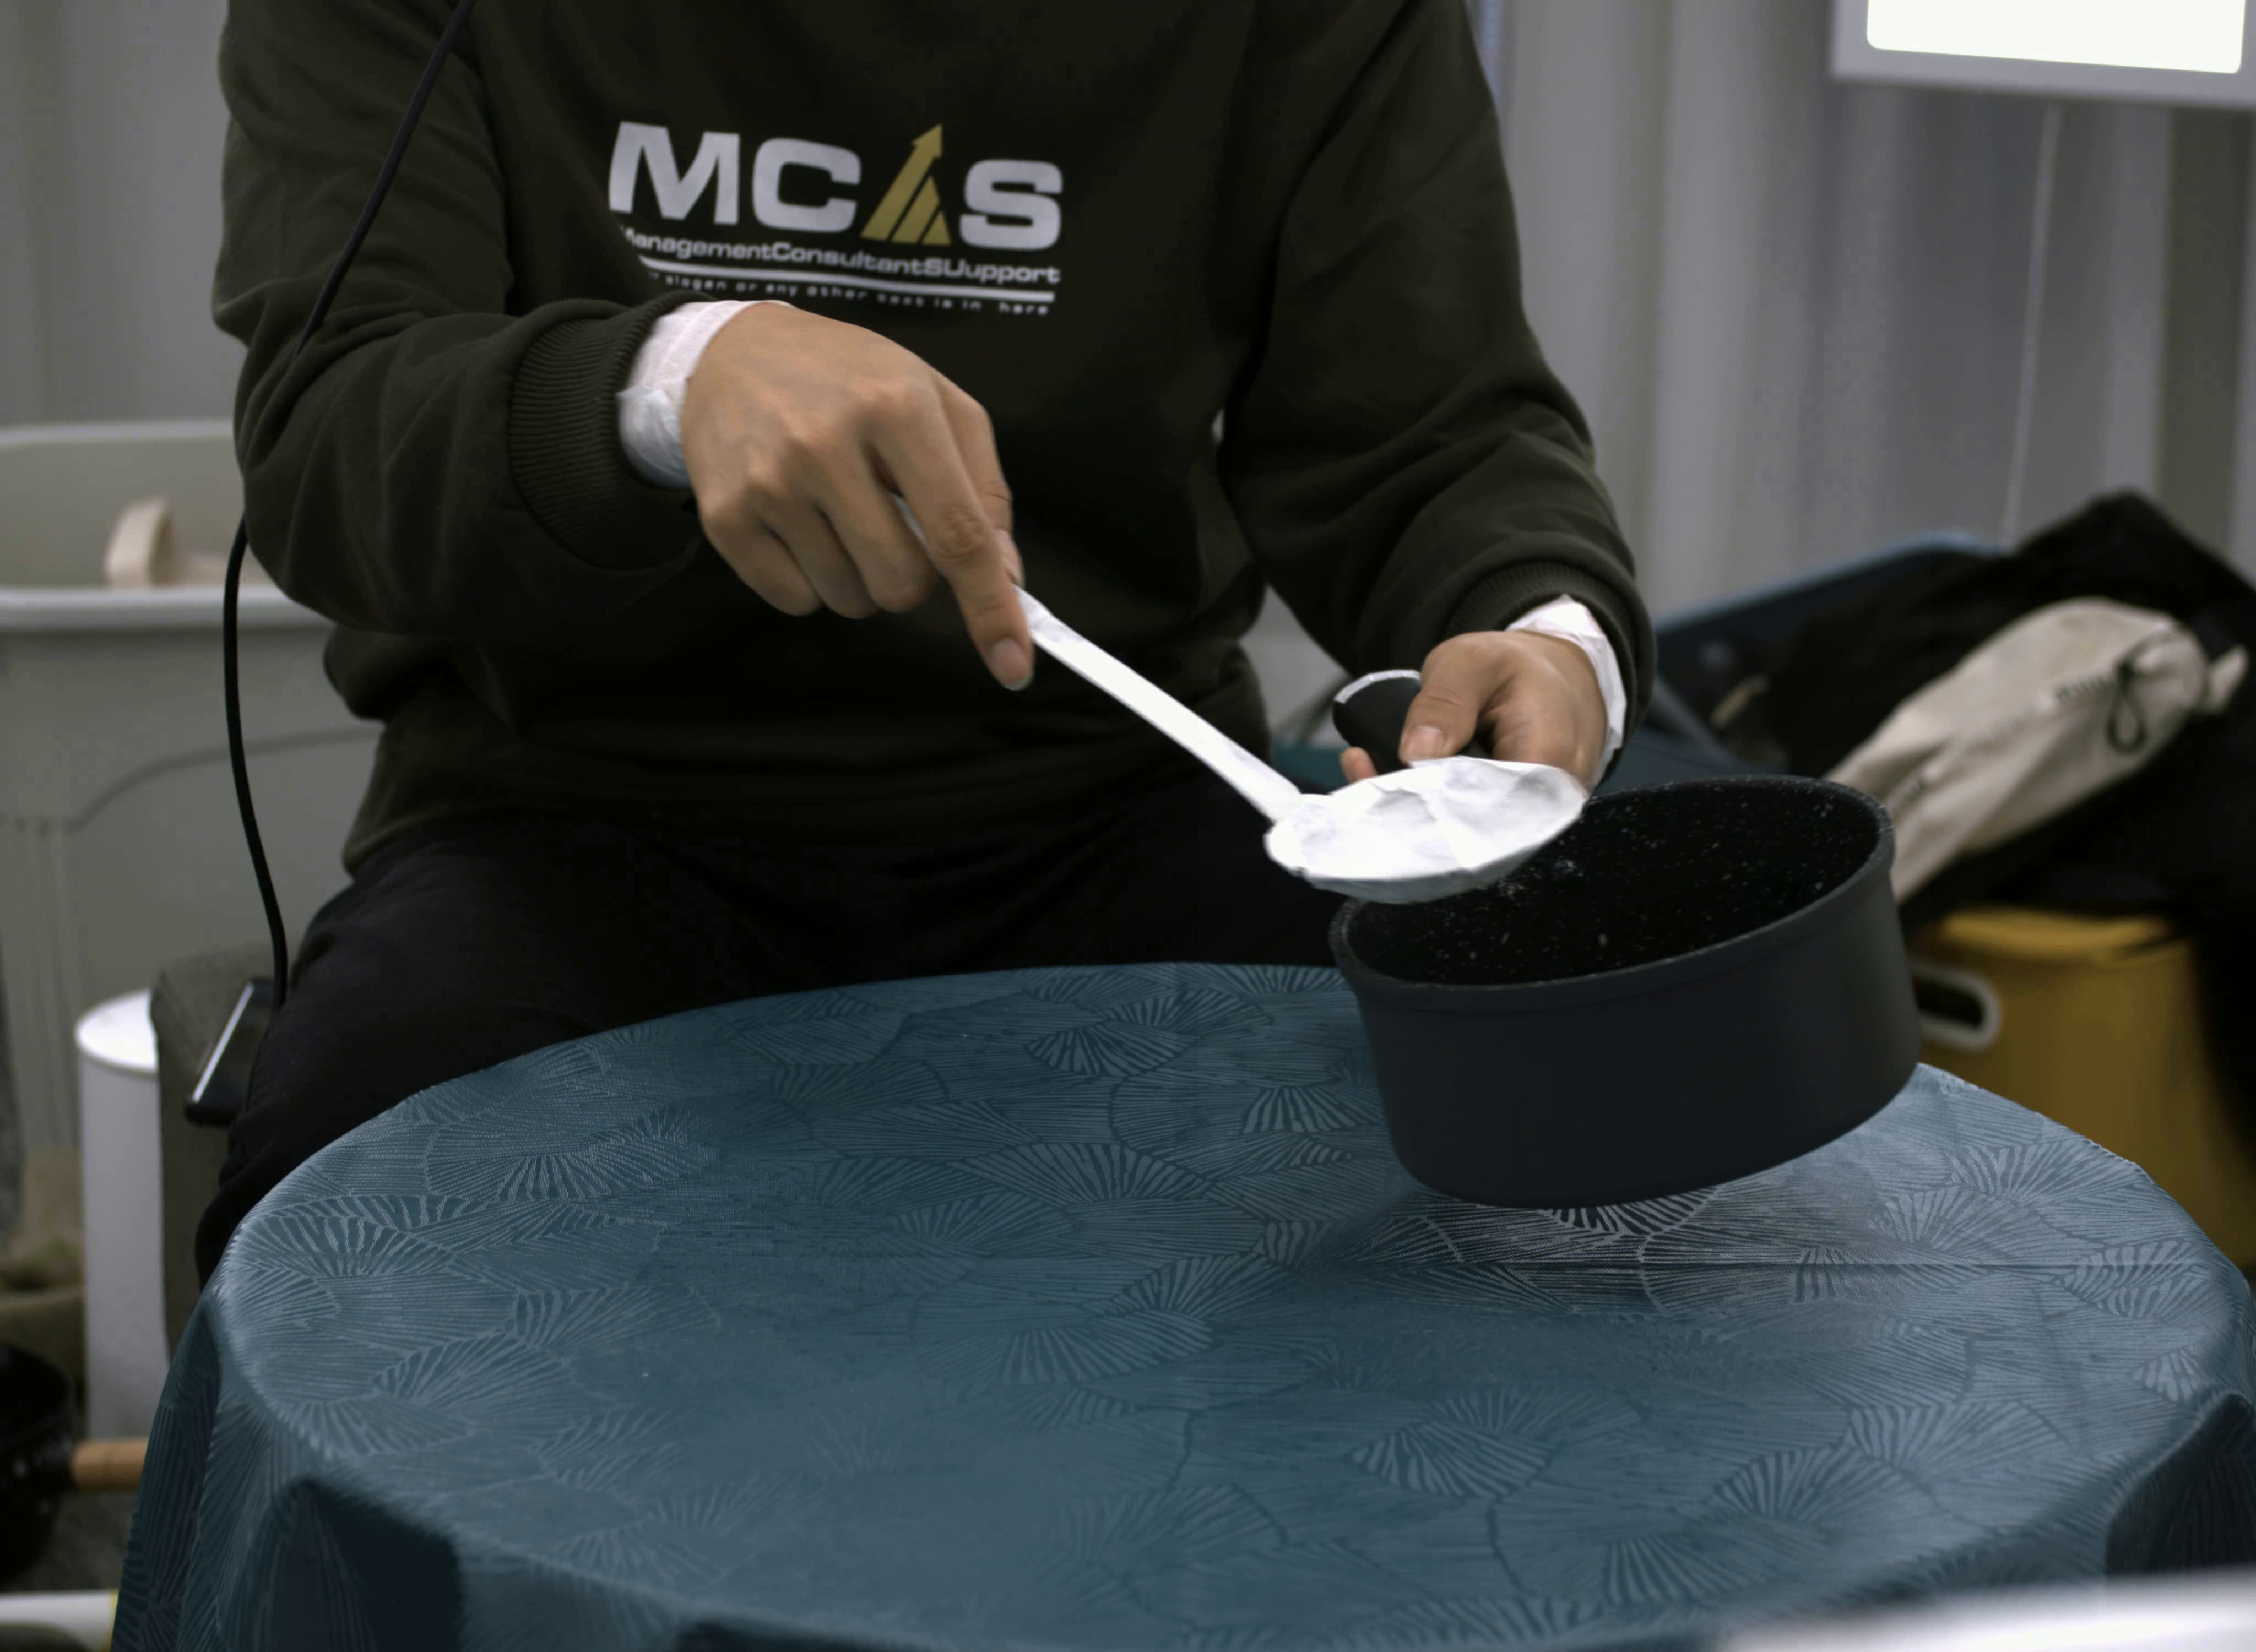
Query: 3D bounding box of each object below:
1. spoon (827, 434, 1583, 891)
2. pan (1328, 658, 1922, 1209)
[{"bbox_3d":[0.018,-0.061,1.579,0.274,0.060,0.101,39,37,22],"label":"spoon"},{"bbox_3d":[0.134,0.027,1.652,0.172,0.087,0.326,-14,18,-8],"label":"pan"}]
